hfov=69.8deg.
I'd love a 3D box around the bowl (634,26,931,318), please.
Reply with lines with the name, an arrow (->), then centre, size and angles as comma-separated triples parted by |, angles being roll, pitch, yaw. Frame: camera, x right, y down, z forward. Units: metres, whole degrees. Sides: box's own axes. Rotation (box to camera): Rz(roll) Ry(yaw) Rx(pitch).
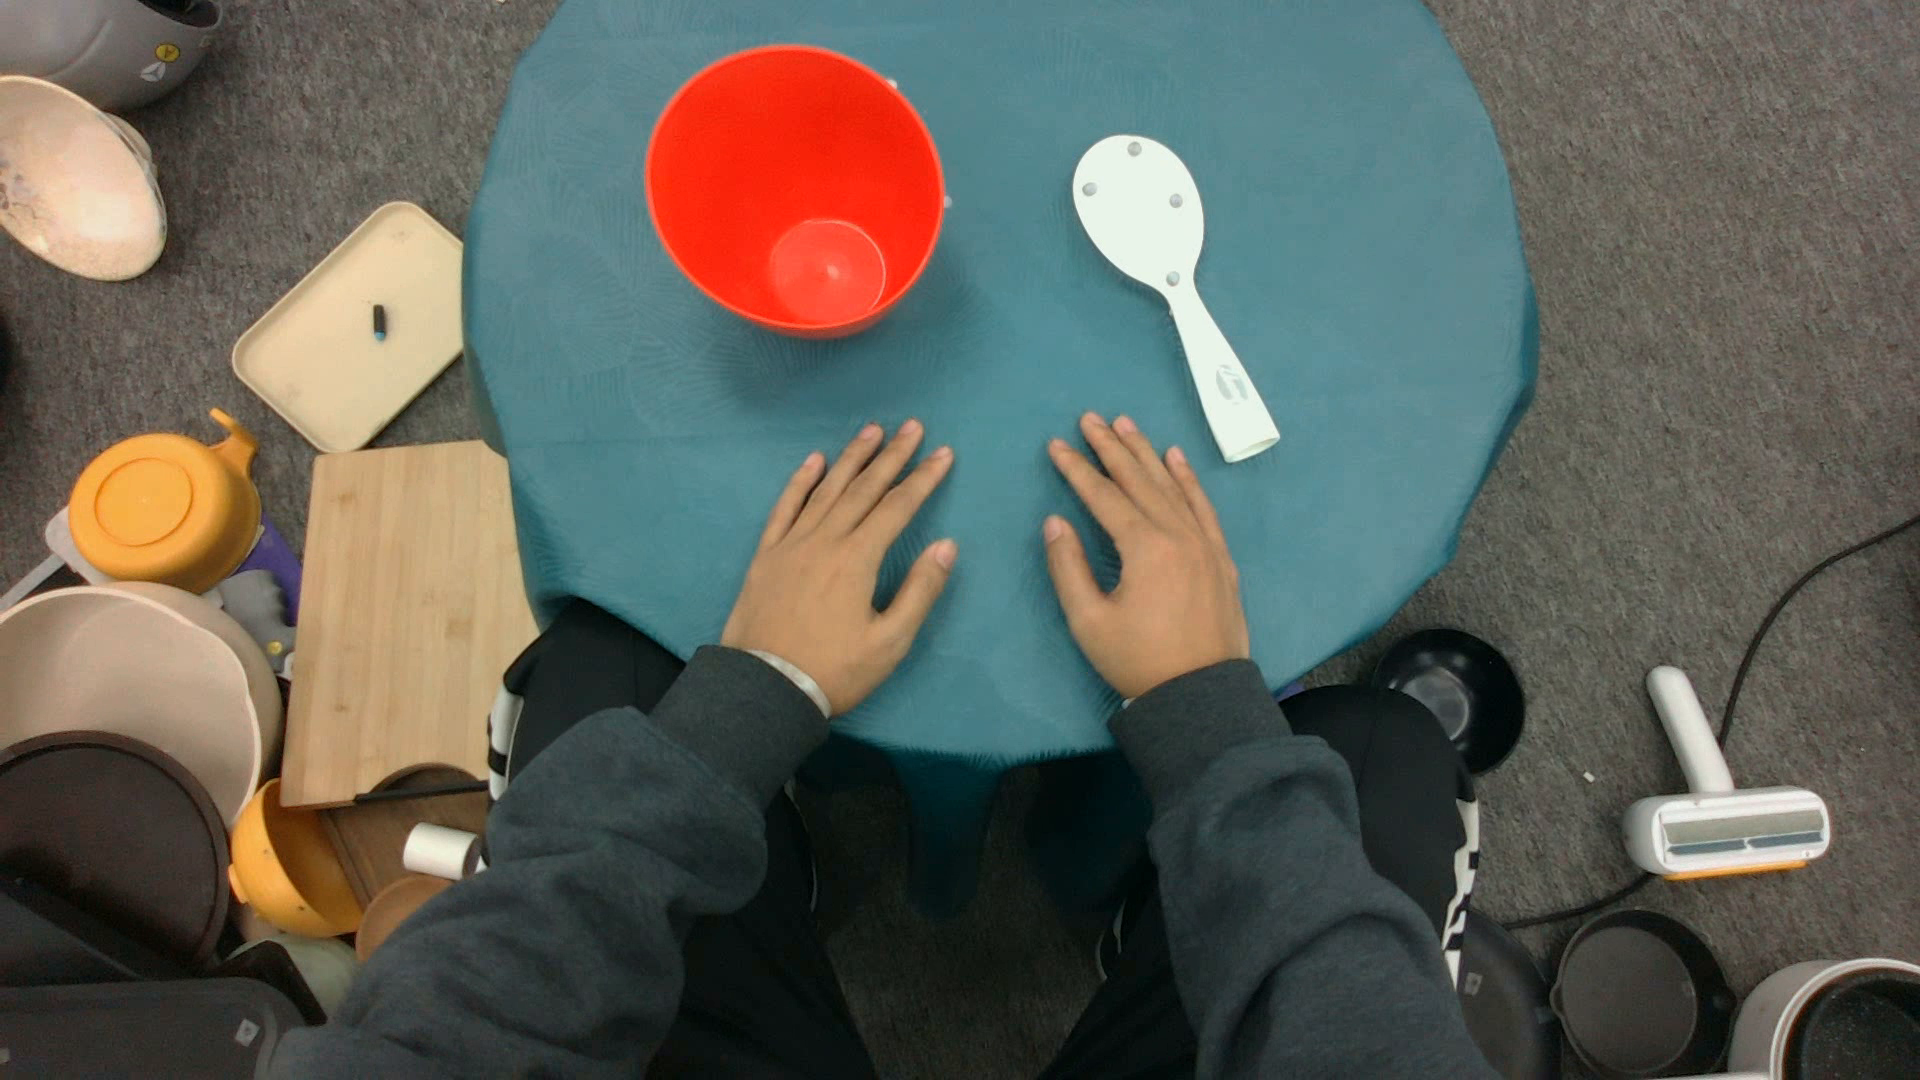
bowl -> -0.089, -0.179, 0.730 | 0.148, 0.104, 0.148 | 1, 76, -3

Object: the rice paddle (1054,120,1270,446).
rice paddle -> 0.113, -0.149, 0.765 | 0.069, 0.029, 0.205 | -22, 77, -9
